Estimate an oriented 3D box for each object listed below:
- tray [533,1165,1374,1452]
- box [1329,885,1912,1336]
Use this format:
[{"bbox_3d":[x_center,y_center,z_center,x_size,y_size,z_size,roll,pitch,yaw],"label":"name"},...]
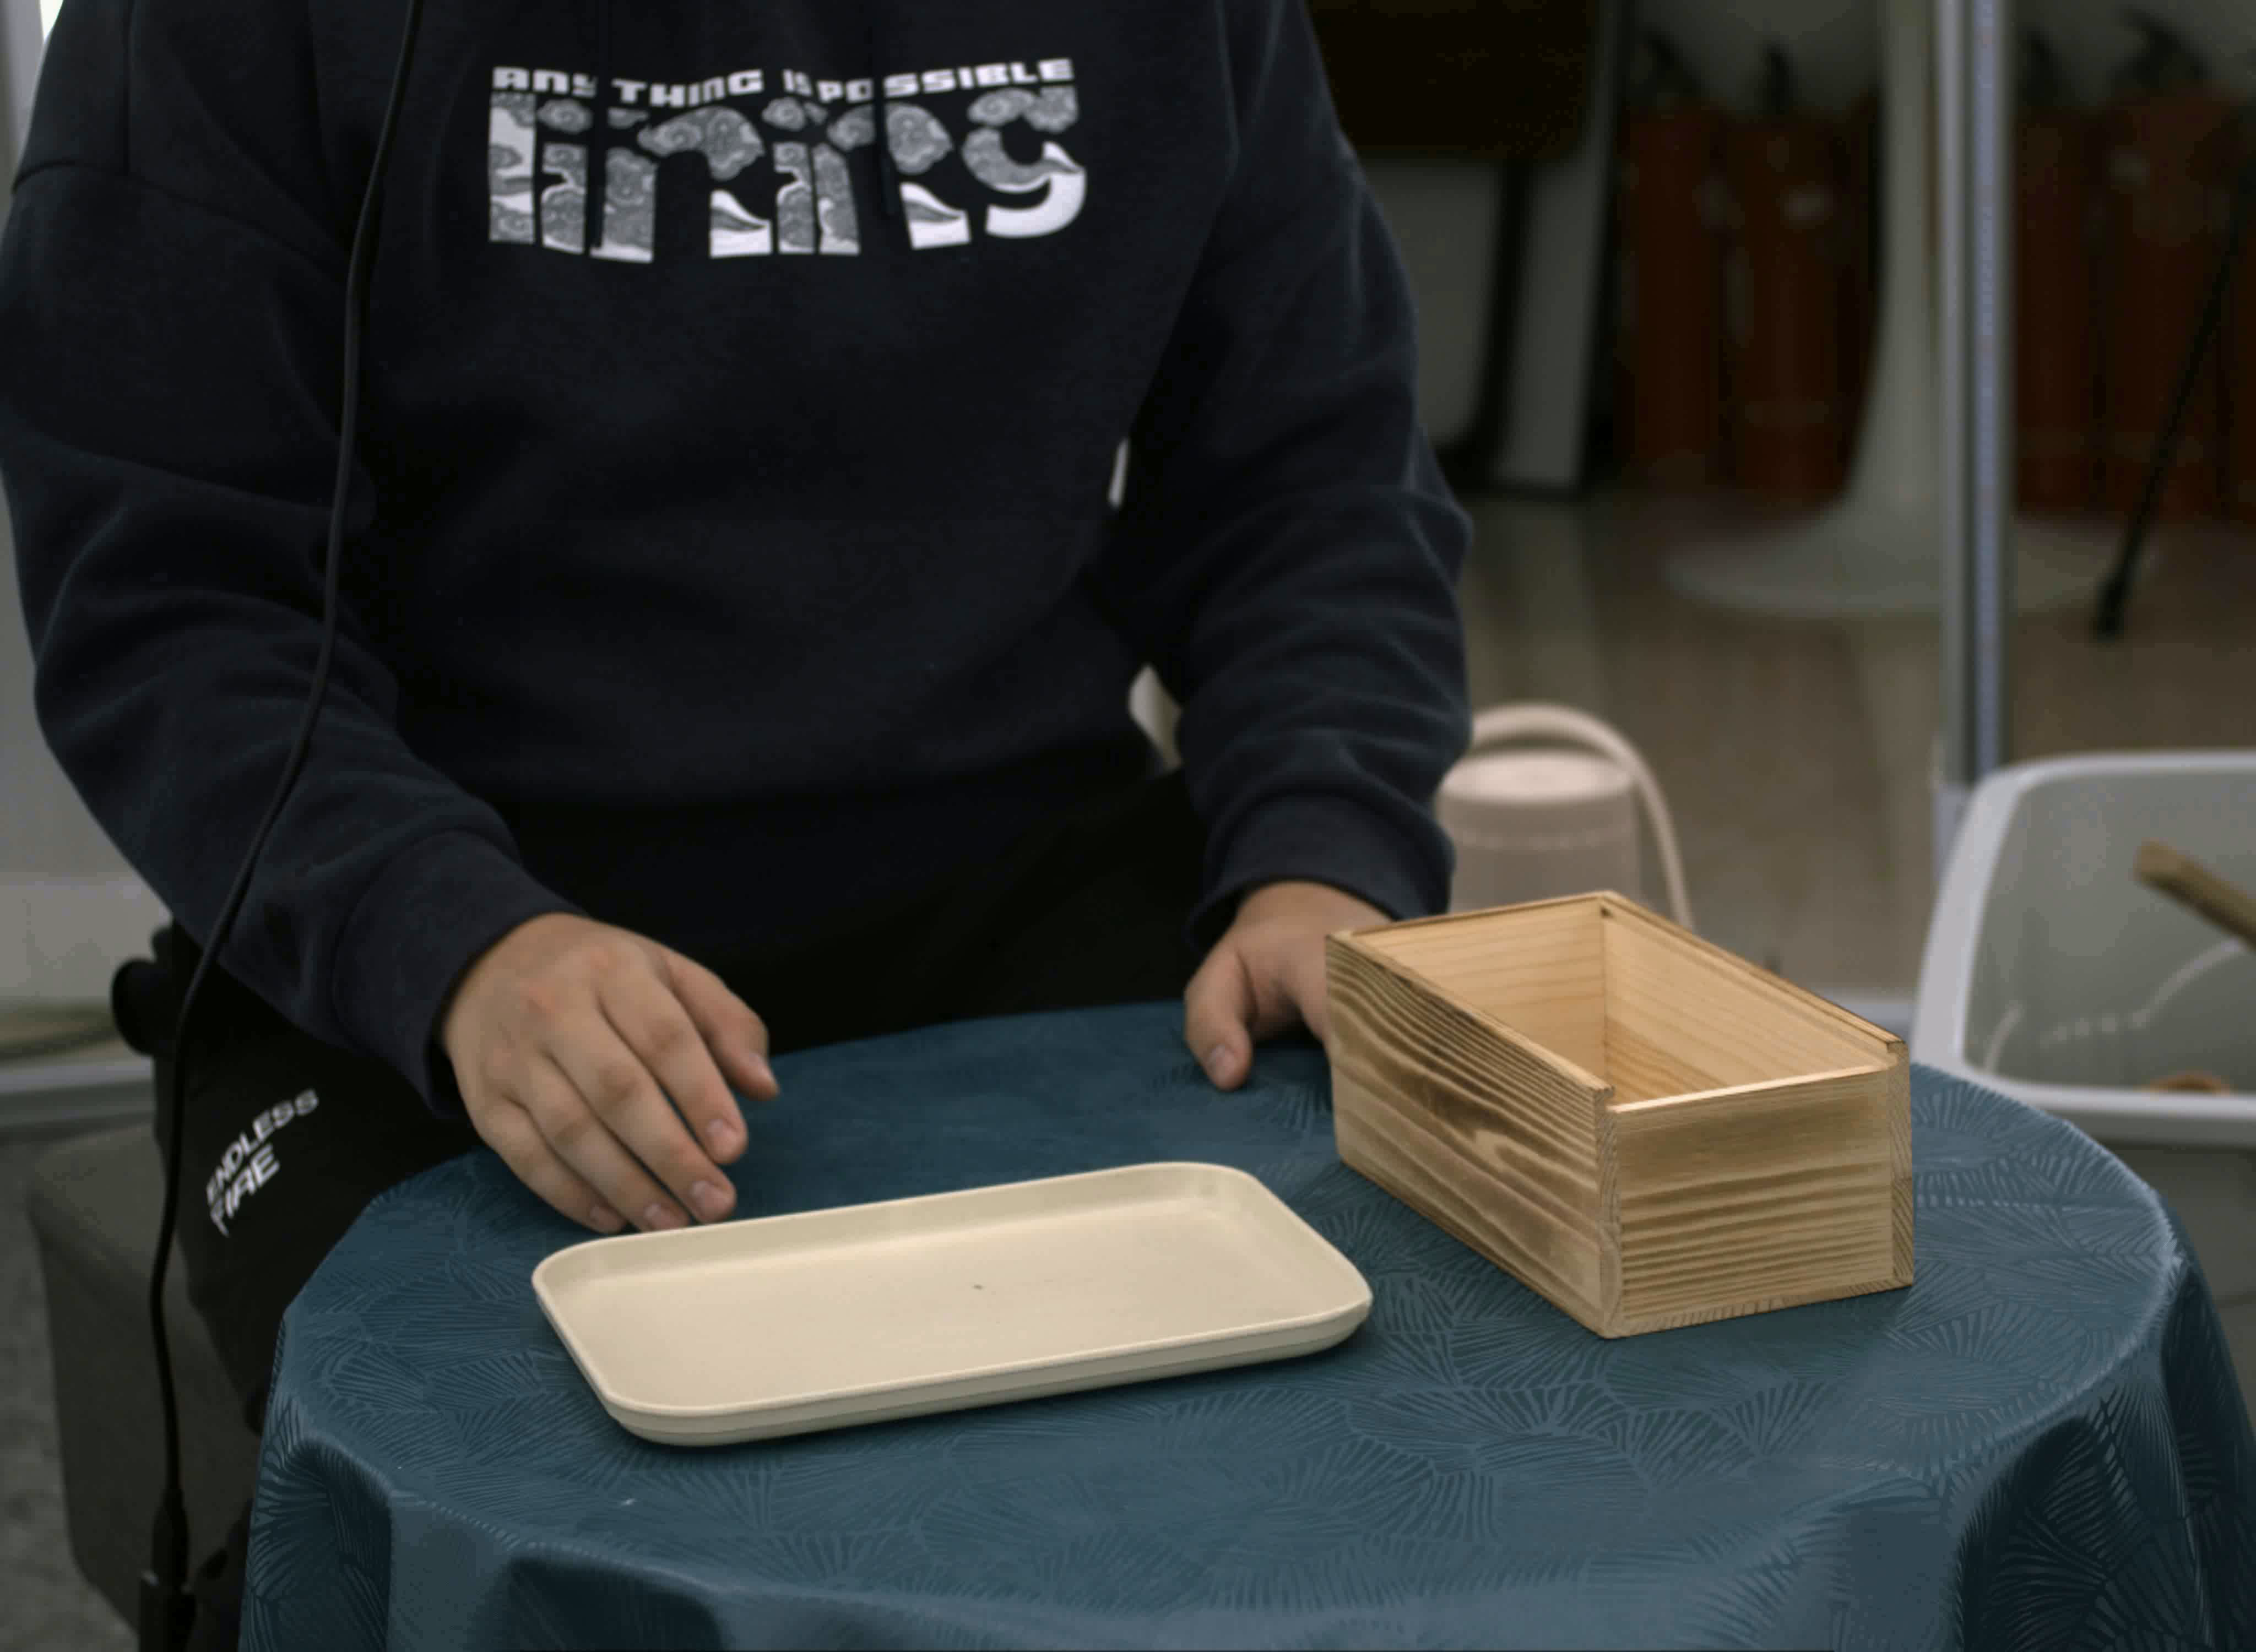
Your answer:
[{"bbox_3d":[-0.054,0.147,1.649,0.235,0.017,0.172,-8,14,-15],"label":"tray"},{"bbox_3d":[0.152,0.086,1.705,0.105,0.081,0.213,-8,14,-19],"label":"box"}]
